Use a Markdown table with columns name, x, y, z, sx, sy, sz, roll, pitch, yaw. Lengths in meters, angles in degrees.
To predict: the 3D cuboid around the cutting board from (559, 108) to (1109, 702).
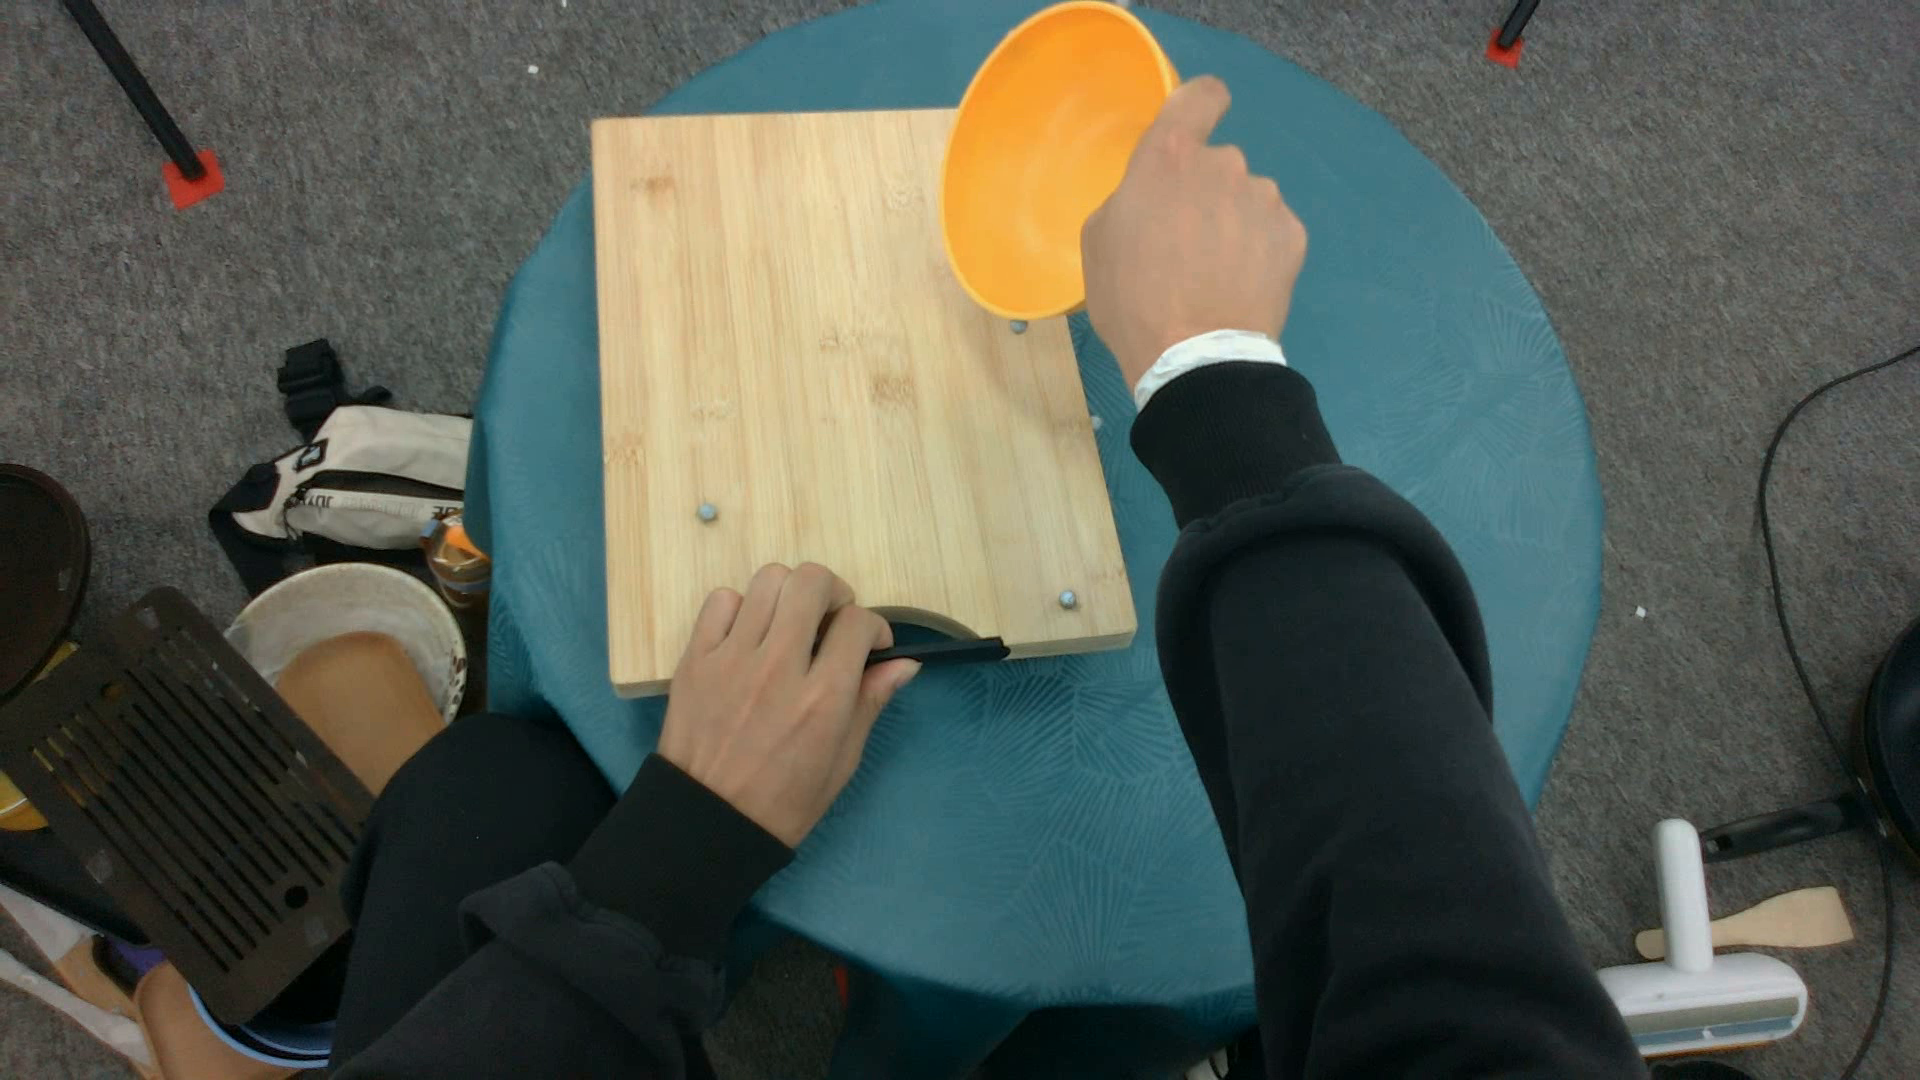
| name | x | y | z | sx | sy | sz | roll | pitch | yaw |
| --- | --- | --- | --- | --- | --- | --- | --- | --- | --- |
| cutting board | -0.077 | -0.091 | 0.703 | 0.251 | 0.023 | 0.350 | -6 | 61 | -11 |

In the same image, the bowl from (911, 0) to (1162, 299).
| name | x | y | z | sx | sy | sz | roll | pitch | yaw |
| --- | --- | --- | --- | --- | --- | --- | --- | --- | --- |
| bowl | 0.045 | -0.181 | 0.647 | 0.060 | 0.144 | 0.145 | 6 | 60 | -44 |
